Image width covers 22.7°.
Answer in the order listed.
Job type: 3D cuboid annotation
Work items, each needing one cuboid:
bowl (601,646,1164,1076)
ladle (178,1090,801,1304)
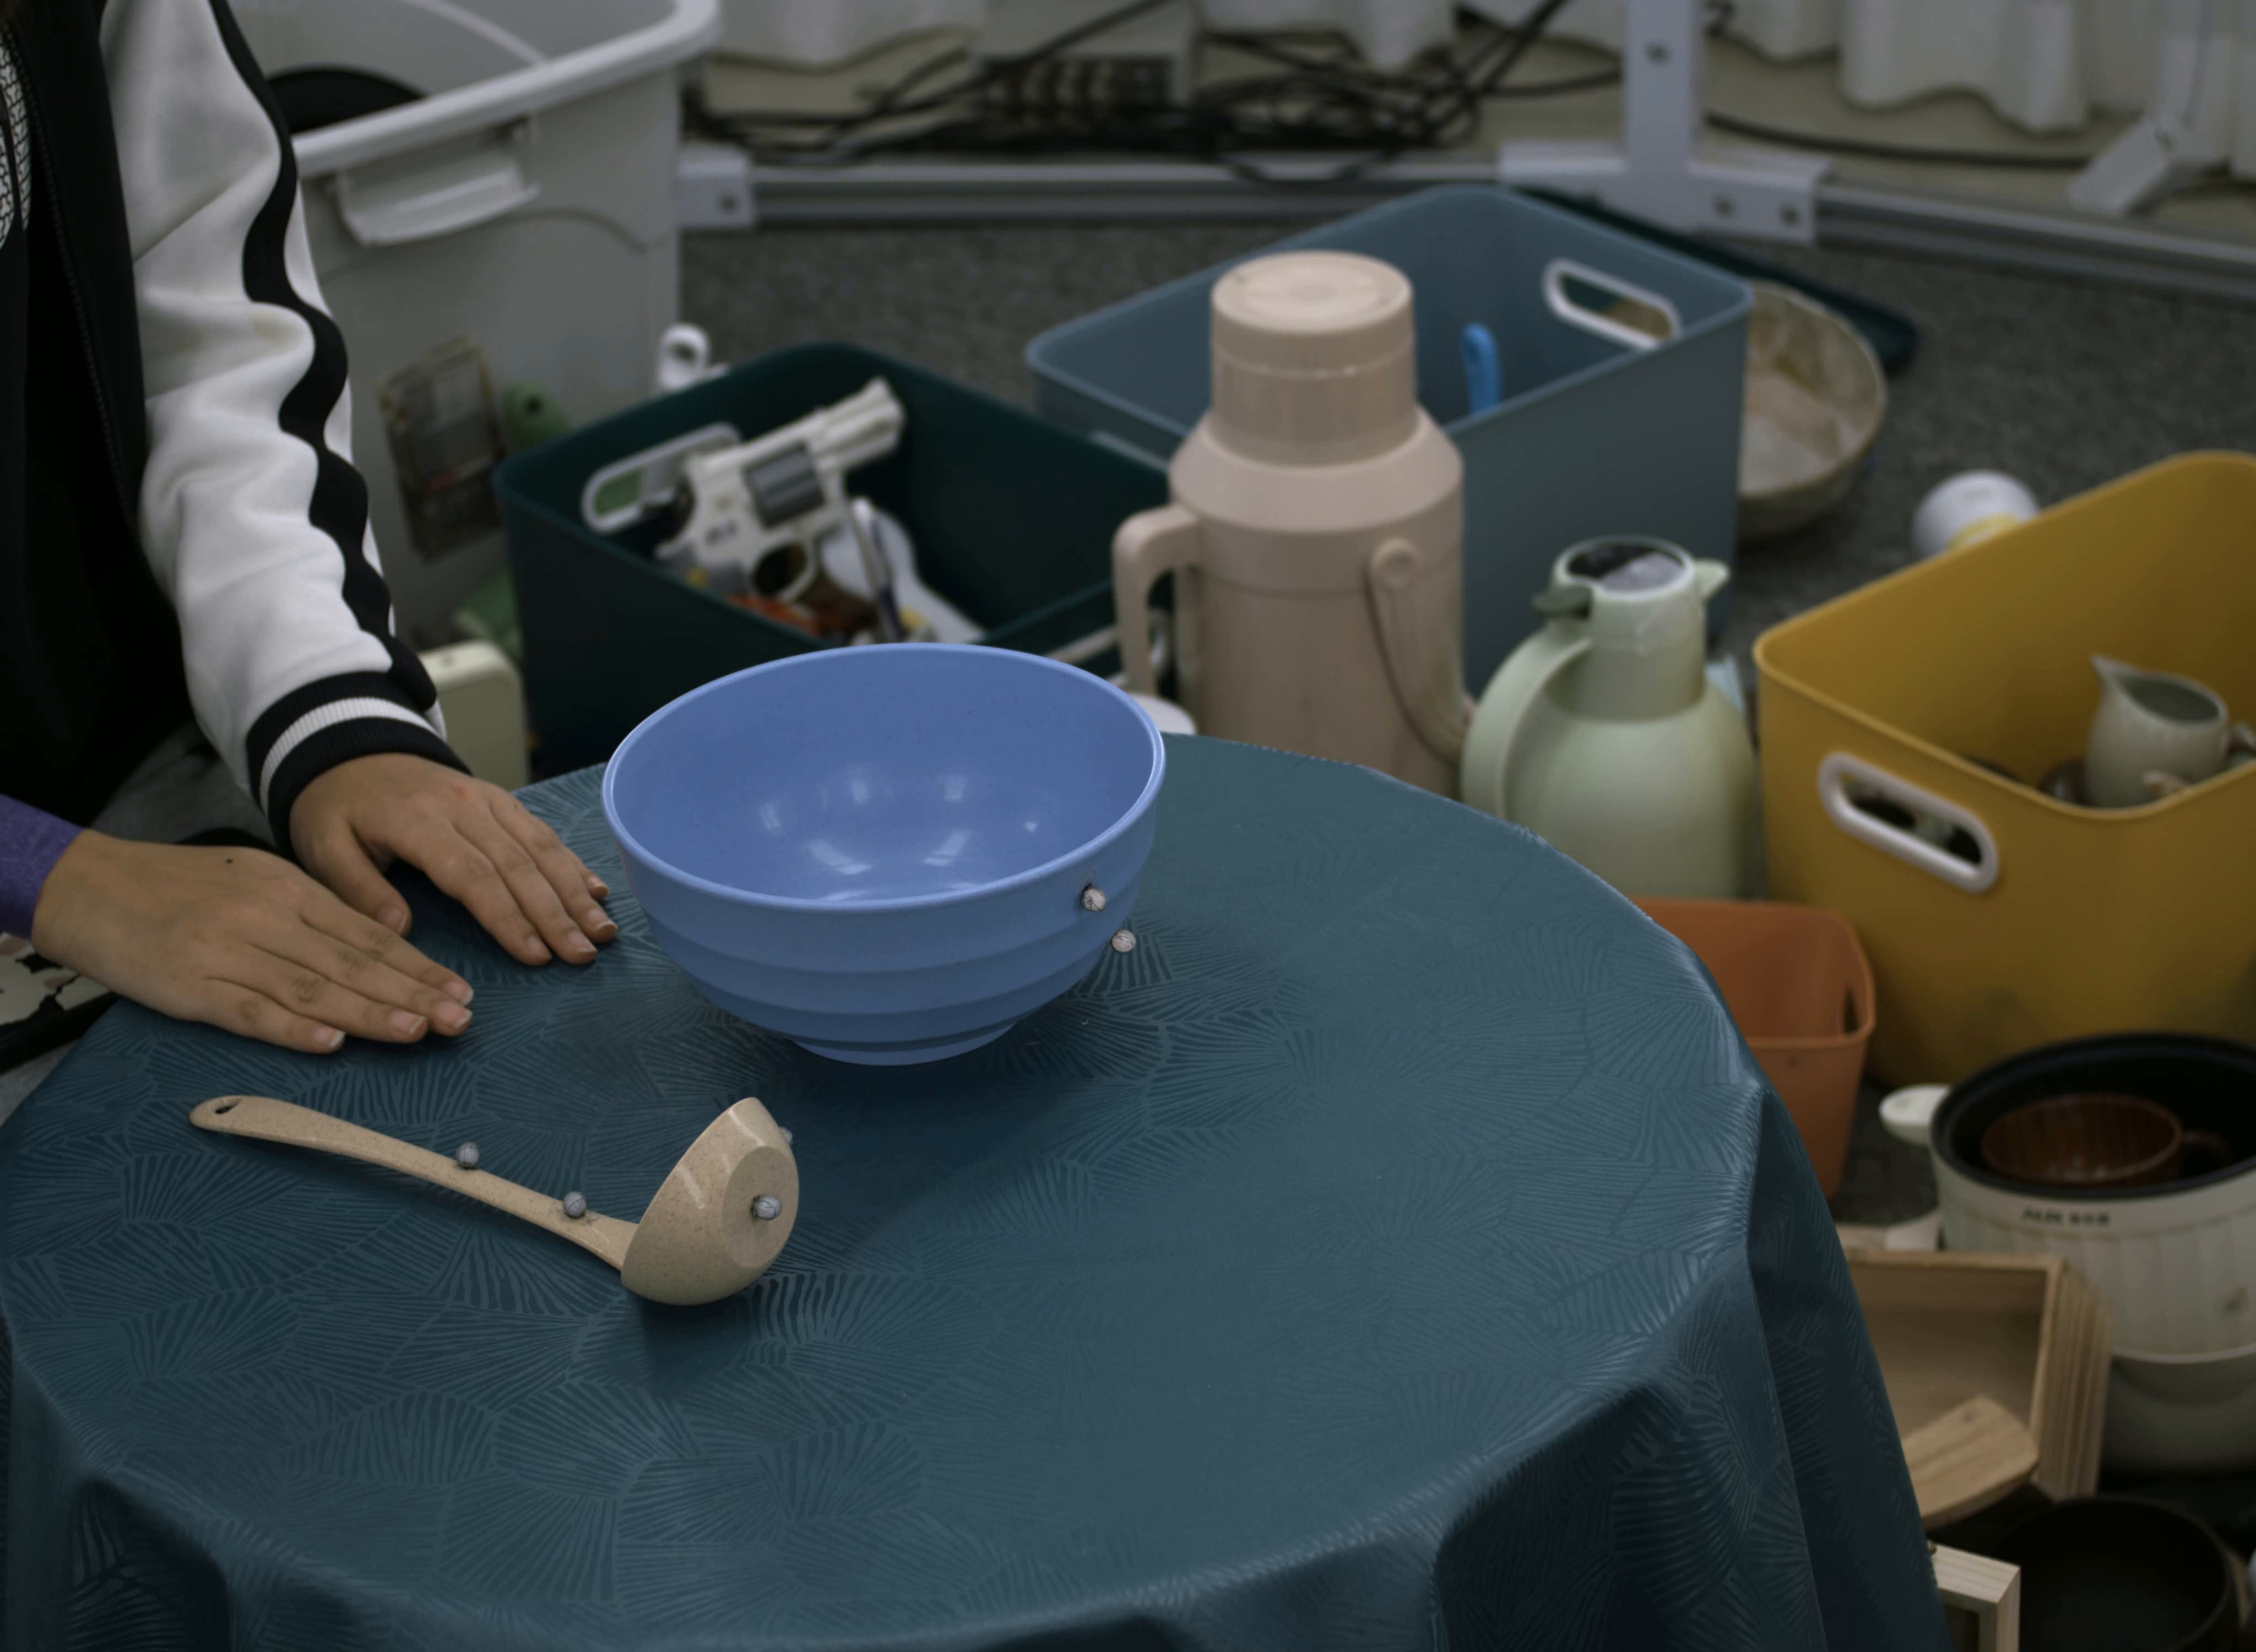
[{"bbox_3d":[-0.081,0.024,1.964,0.195,0.094,0.199,-3,28,2],"label":"bowl"},{"bbox_3d":[-0.221,0.099,1.850,0.253,0.072,0.073,13,37,29],"label":"ladle"}]
